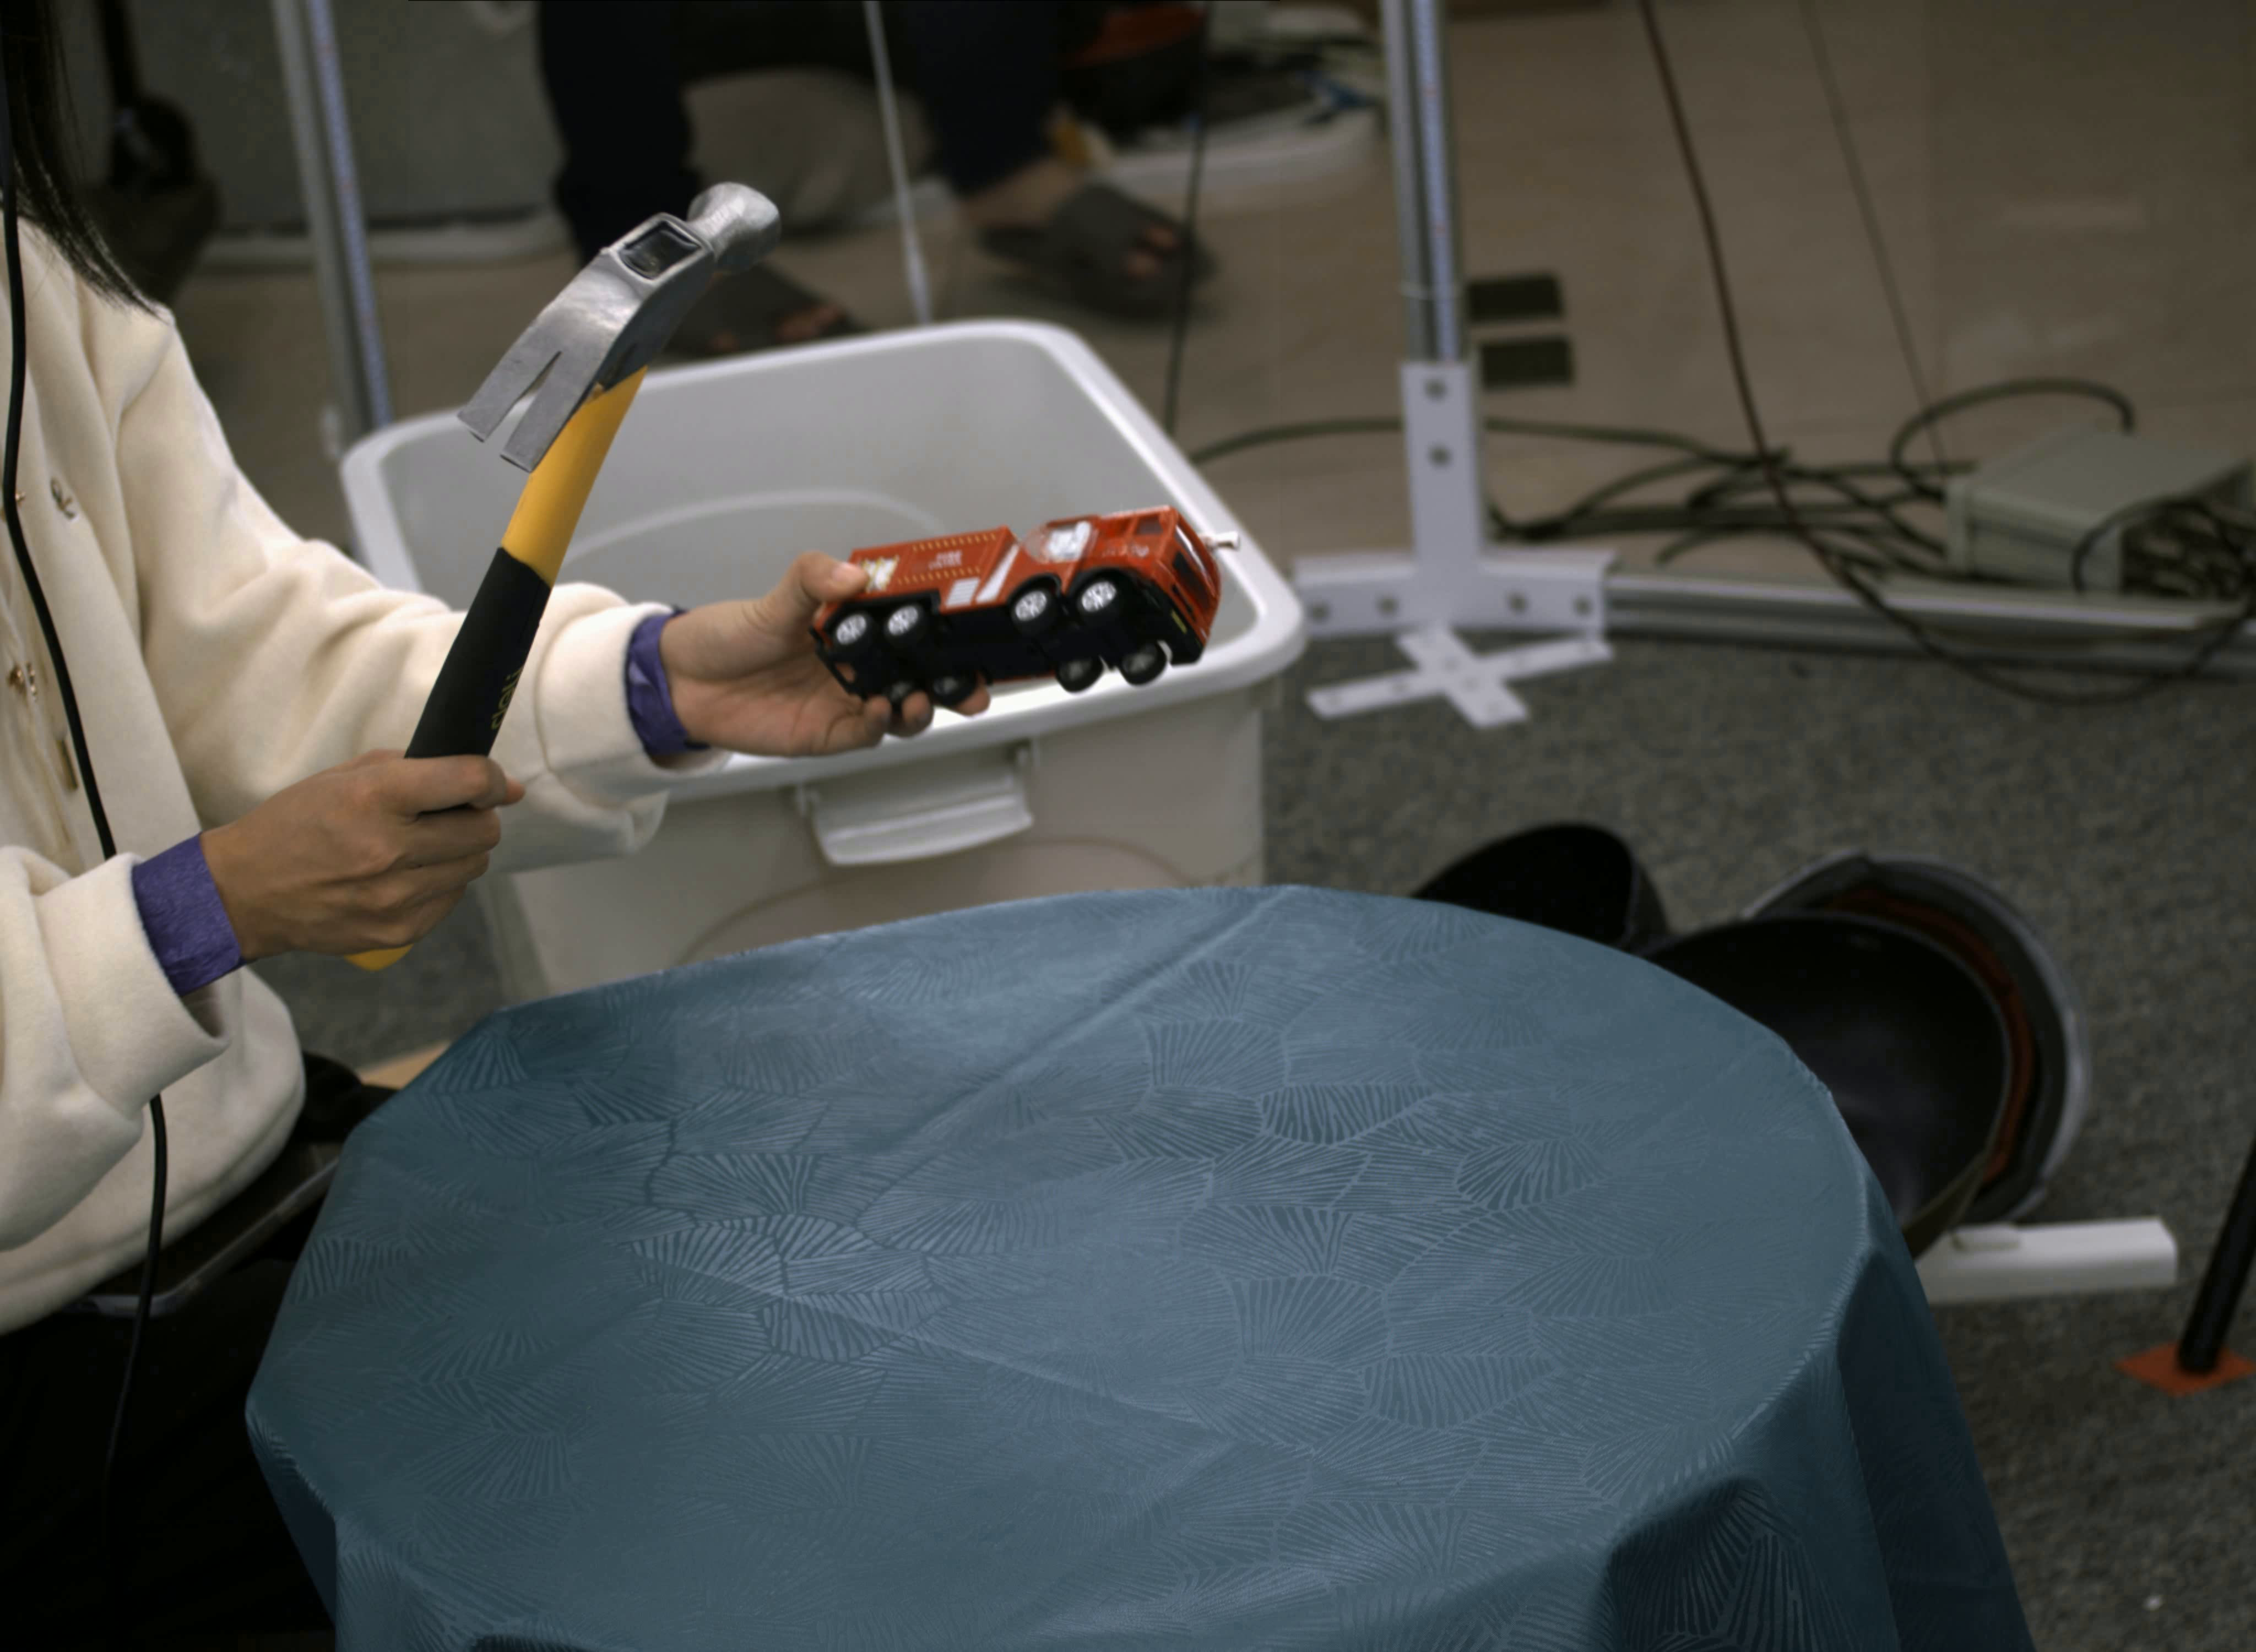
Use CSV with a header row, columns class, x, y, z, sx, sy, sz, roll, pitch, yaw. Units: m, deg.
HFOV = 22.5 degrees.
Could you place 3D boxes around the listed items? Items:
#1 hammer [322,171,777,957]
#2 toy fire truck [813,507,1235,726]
class,x,y,z,sx,sy,sz,roll,pitch,yaw
hammer,-0.220,-0.078,1.974,0.032,0.344,0.130,36,41,9
toy fire truck,-0.039,-0.081,2.154,0.168,0.055,0.069,-6,47,34
